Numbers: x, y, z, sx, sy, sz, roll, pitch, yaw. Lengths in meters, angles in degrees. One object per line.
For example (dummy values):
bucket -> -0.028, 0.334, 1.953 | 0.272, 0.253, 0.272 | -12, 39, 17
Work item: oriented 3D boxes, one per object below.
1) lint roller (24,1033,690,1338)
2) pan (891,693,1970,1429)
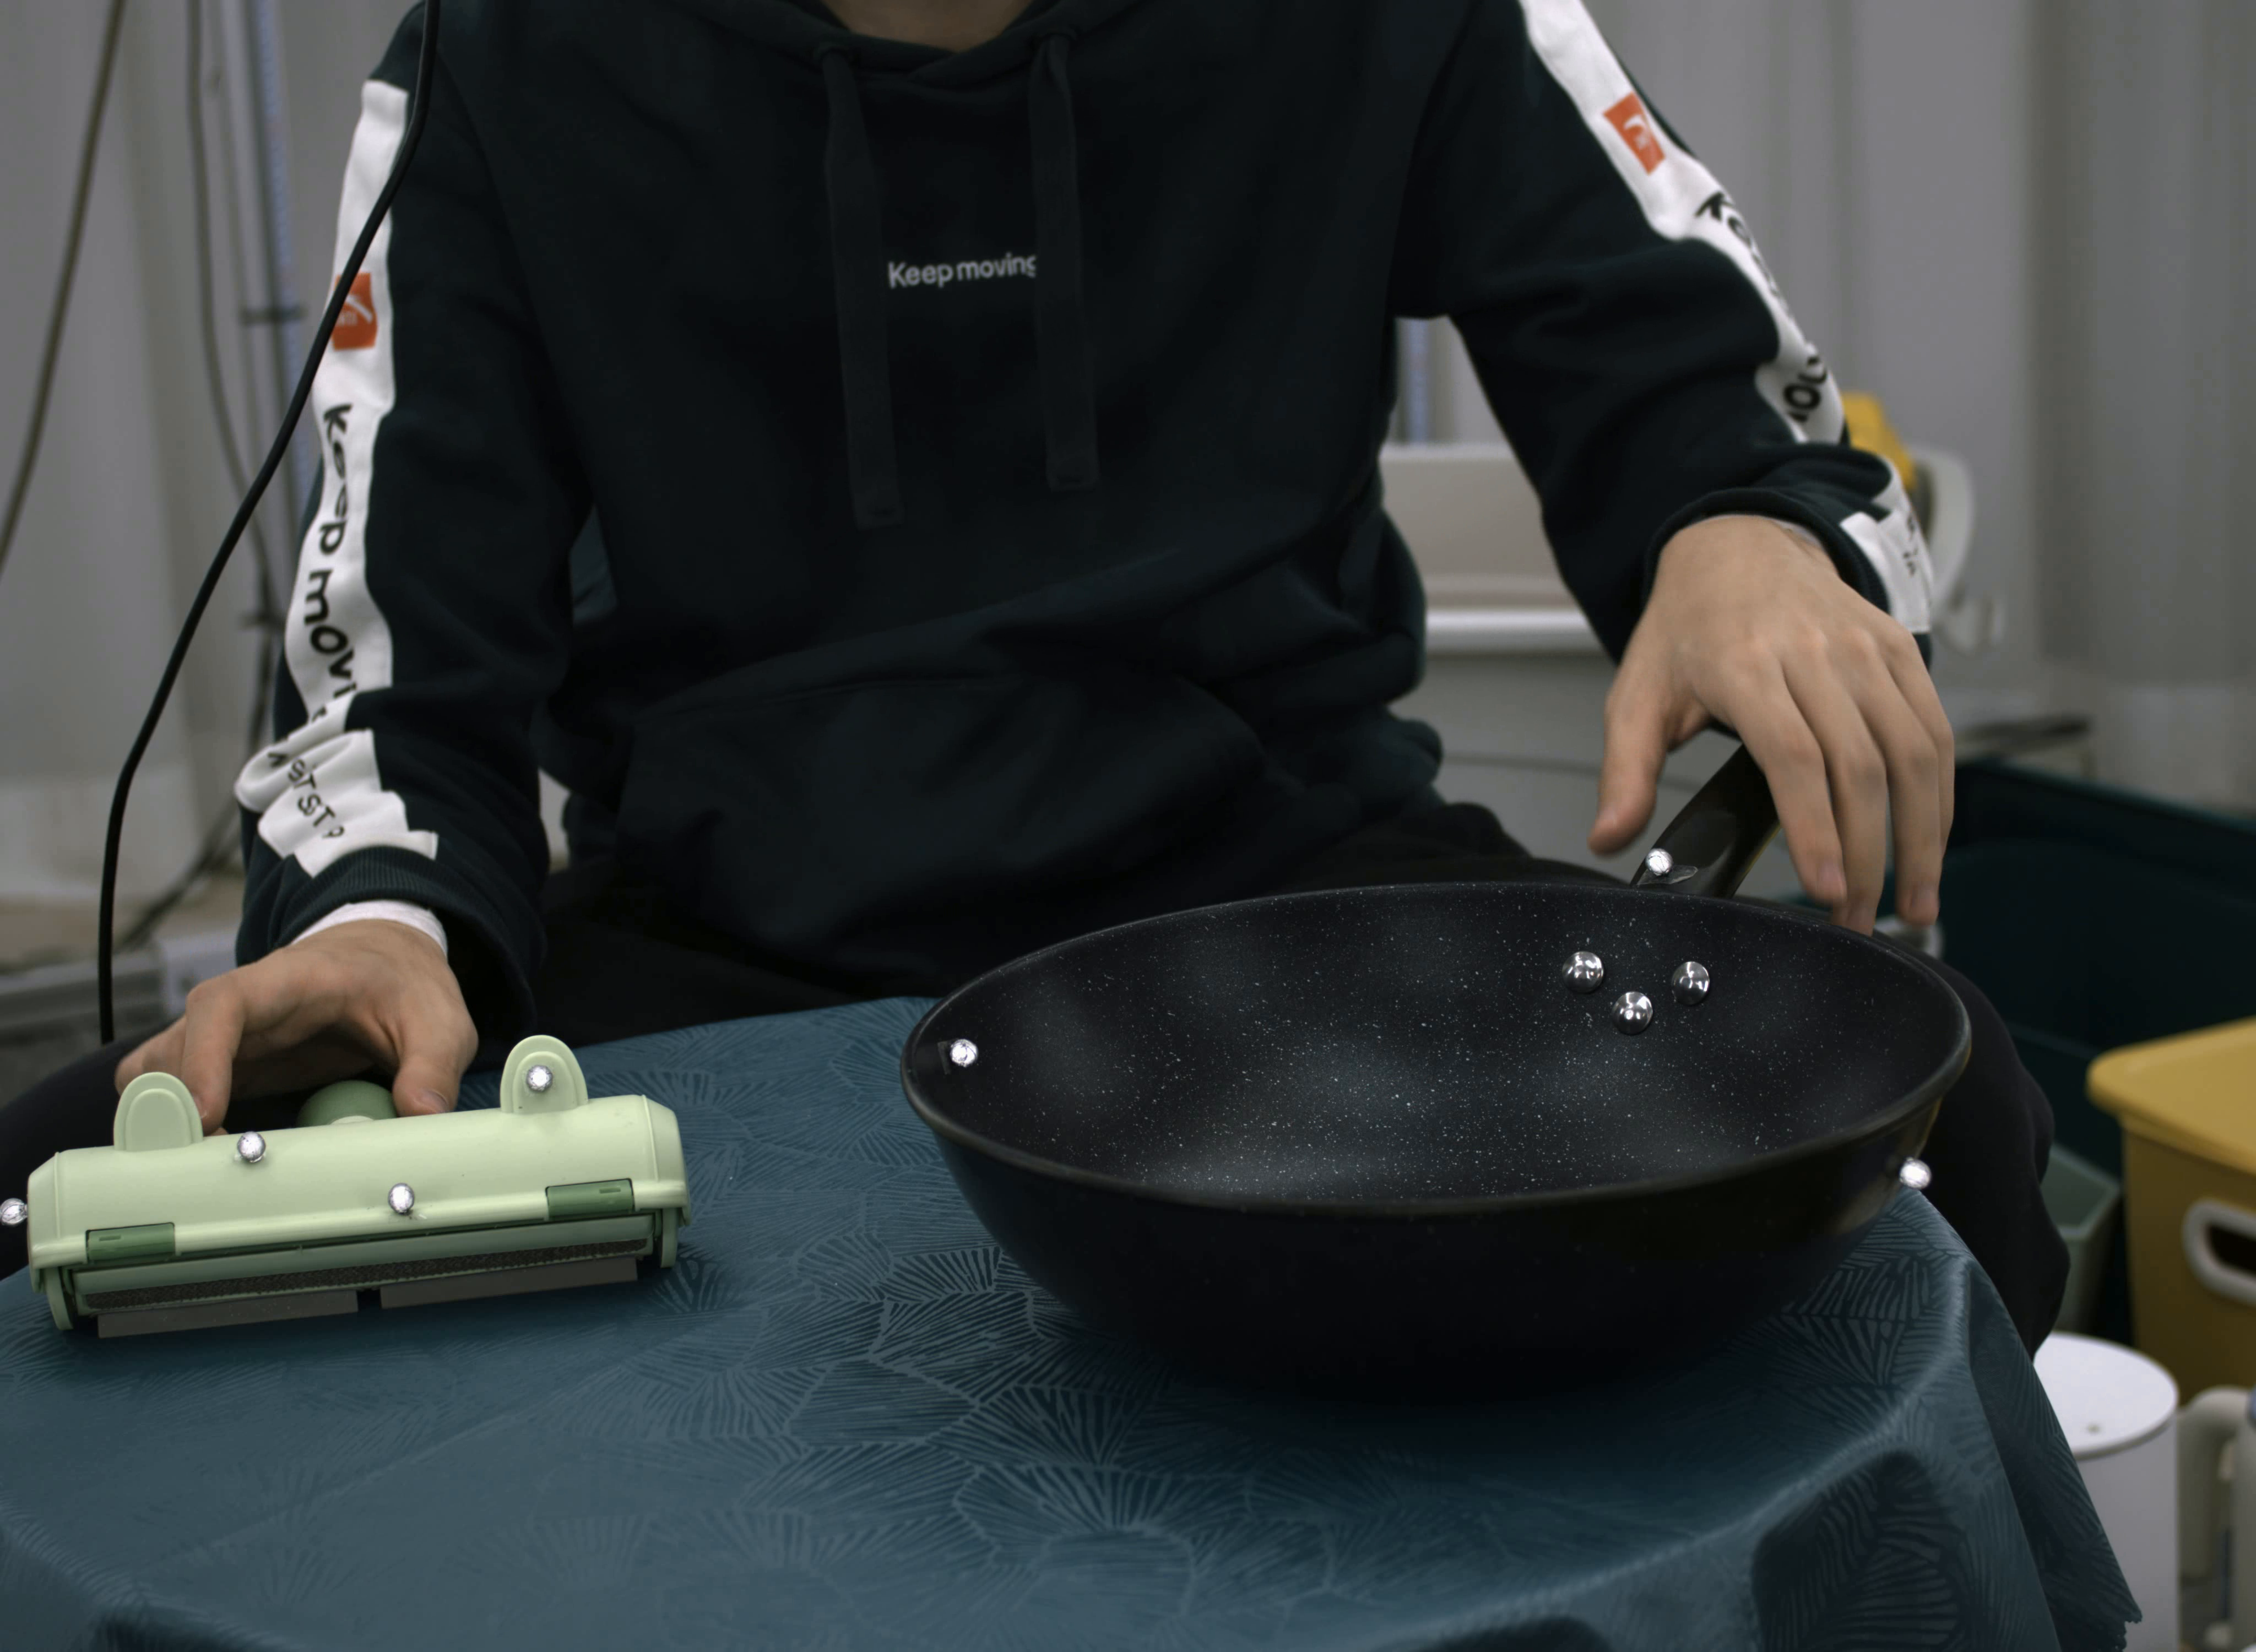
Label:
lint roller -> -0.241, 0.092, 1.701 | 0.198, 0.081, 0.185 | -6, 20, -8
pan -> 0.127, 0.070, 1.651 | 0.311, 0.111, 0.477 | 7, 18, 28
